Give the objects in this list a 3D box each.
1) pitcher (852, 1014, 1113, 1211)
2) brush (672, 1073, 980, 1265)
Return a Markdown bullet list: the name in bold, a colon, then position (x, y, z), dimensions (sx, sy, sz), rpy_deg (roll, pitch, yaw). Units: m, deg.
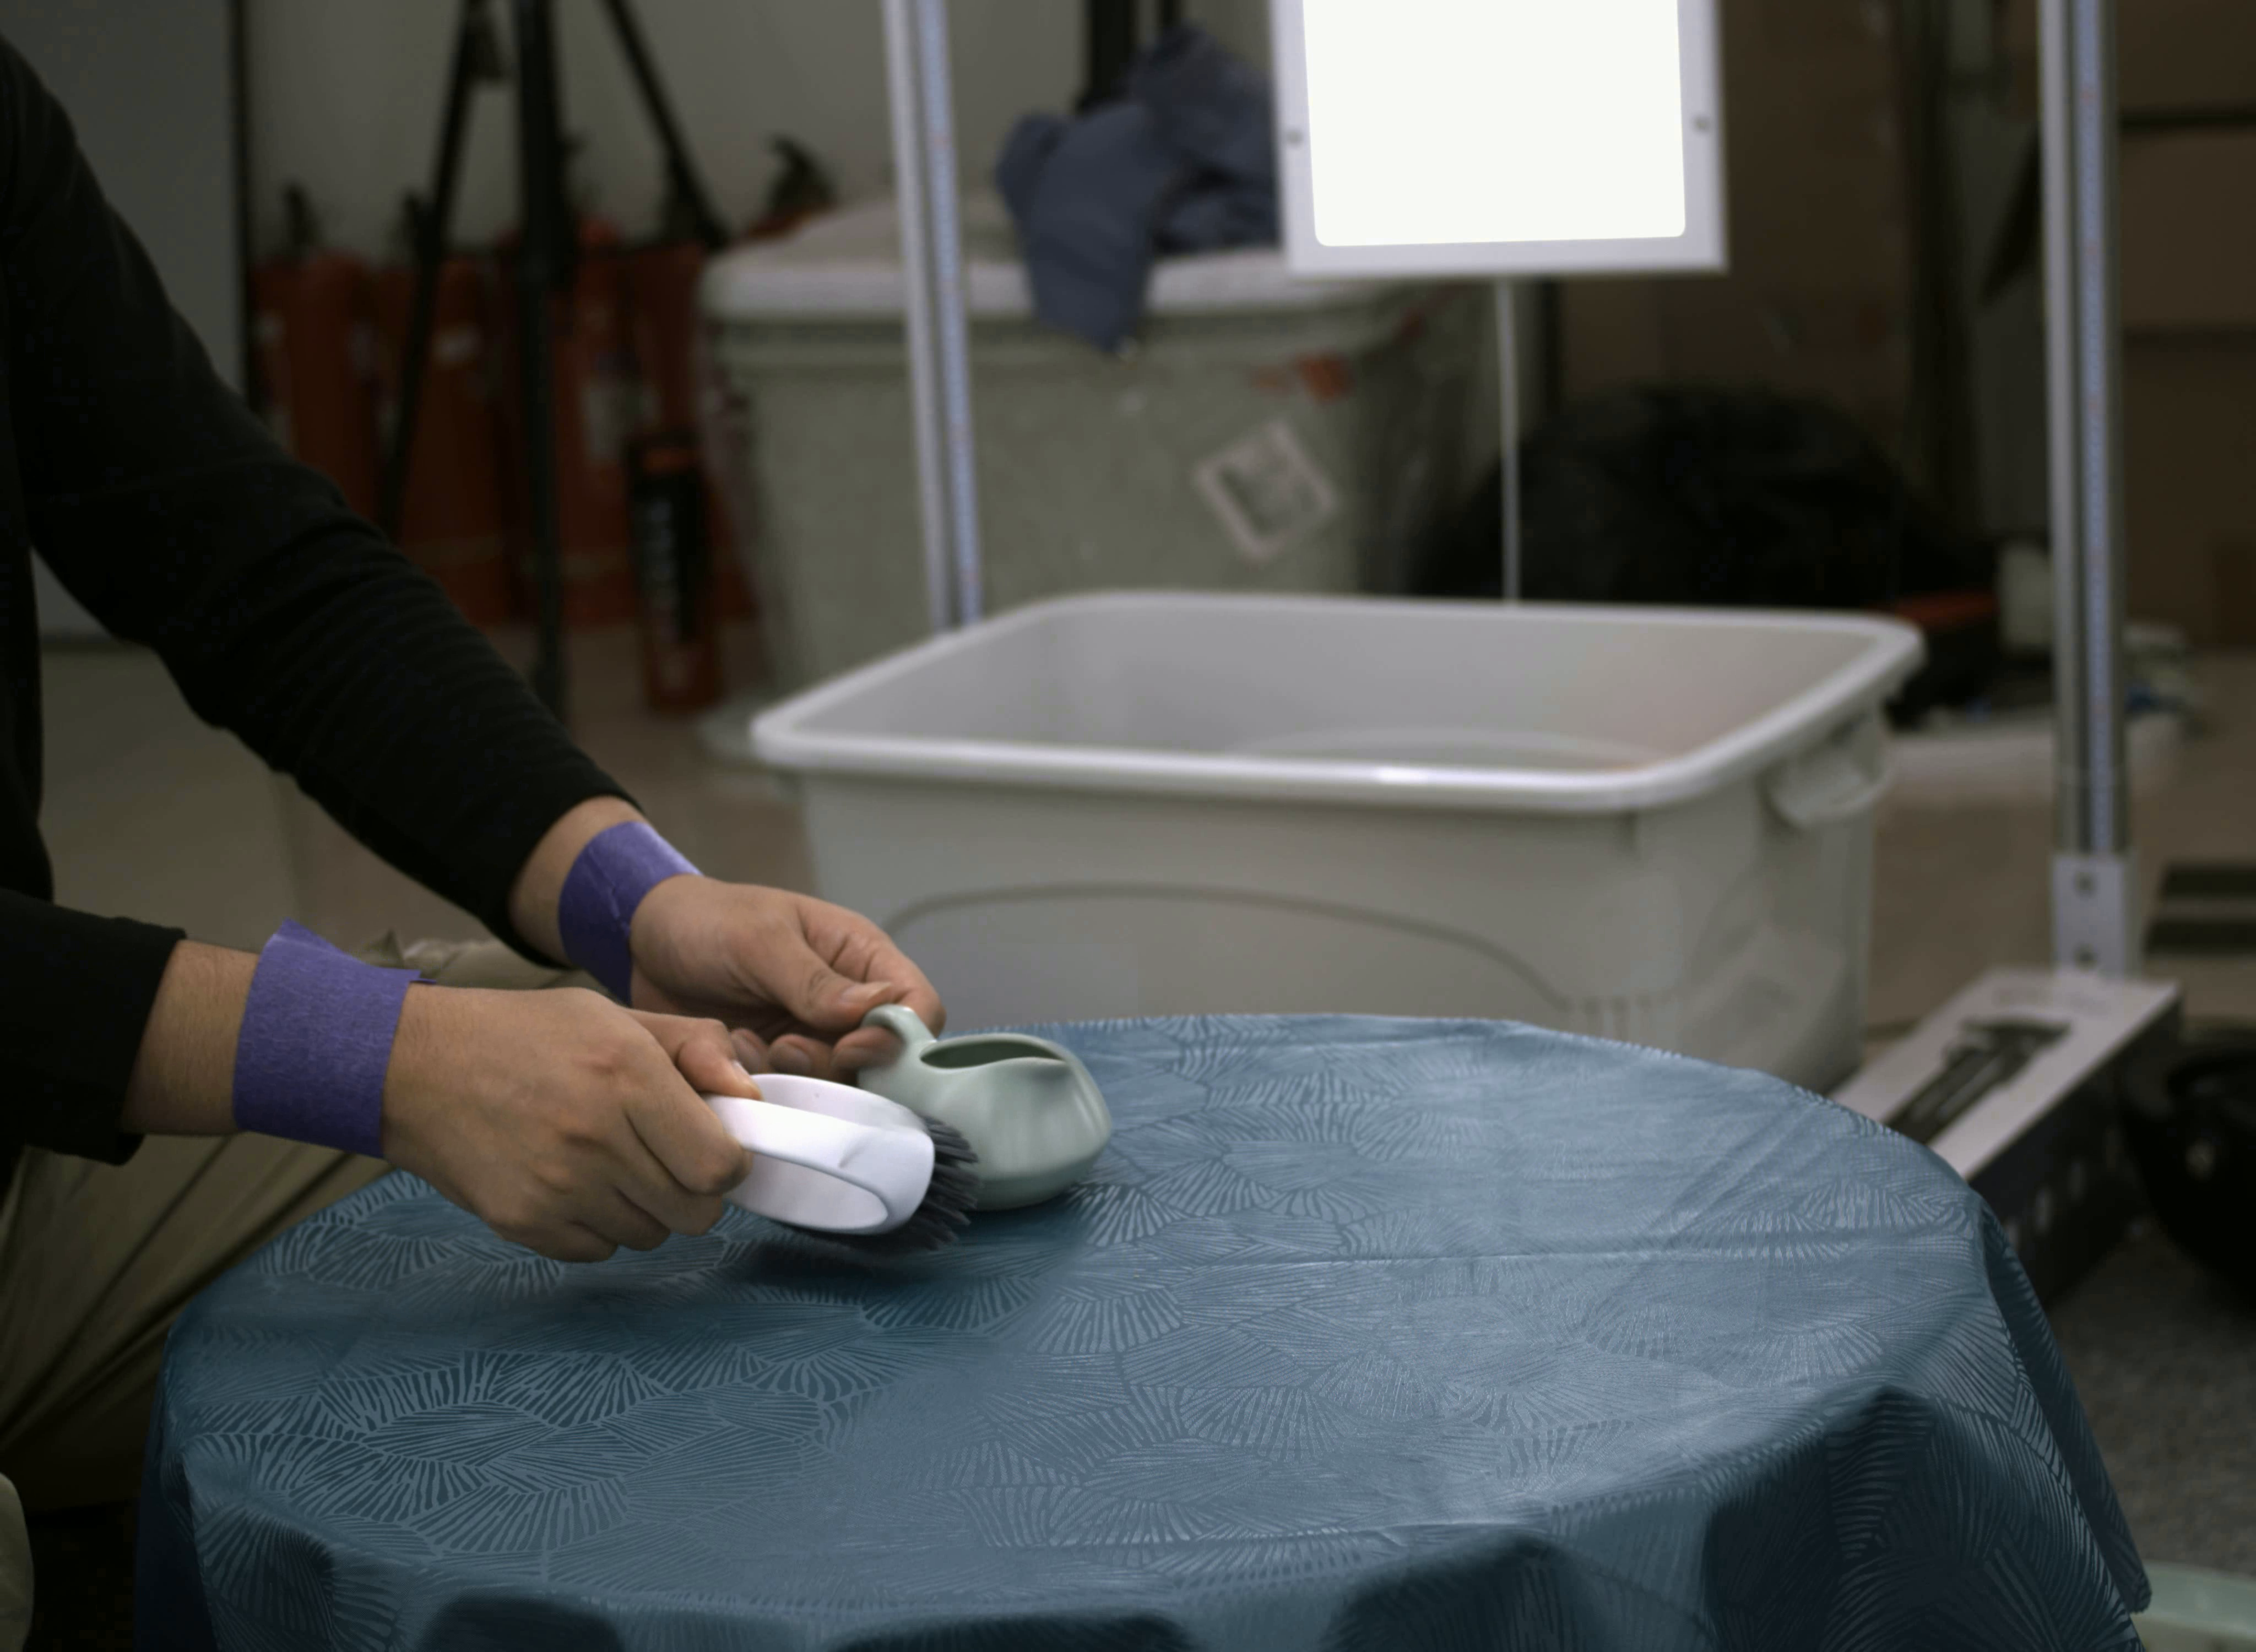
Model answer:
- **pitcher**: position (-0.057, 0.099, 1.911), dimensions (0.084, 0.060, 0.110), rpy_deg (-15, 15, -43)
- **brush**: position (-0.107, 0.108, 1.830), dimensions (0.101, 0.050, 0.071), rpy_deg (13, -9, 39)
